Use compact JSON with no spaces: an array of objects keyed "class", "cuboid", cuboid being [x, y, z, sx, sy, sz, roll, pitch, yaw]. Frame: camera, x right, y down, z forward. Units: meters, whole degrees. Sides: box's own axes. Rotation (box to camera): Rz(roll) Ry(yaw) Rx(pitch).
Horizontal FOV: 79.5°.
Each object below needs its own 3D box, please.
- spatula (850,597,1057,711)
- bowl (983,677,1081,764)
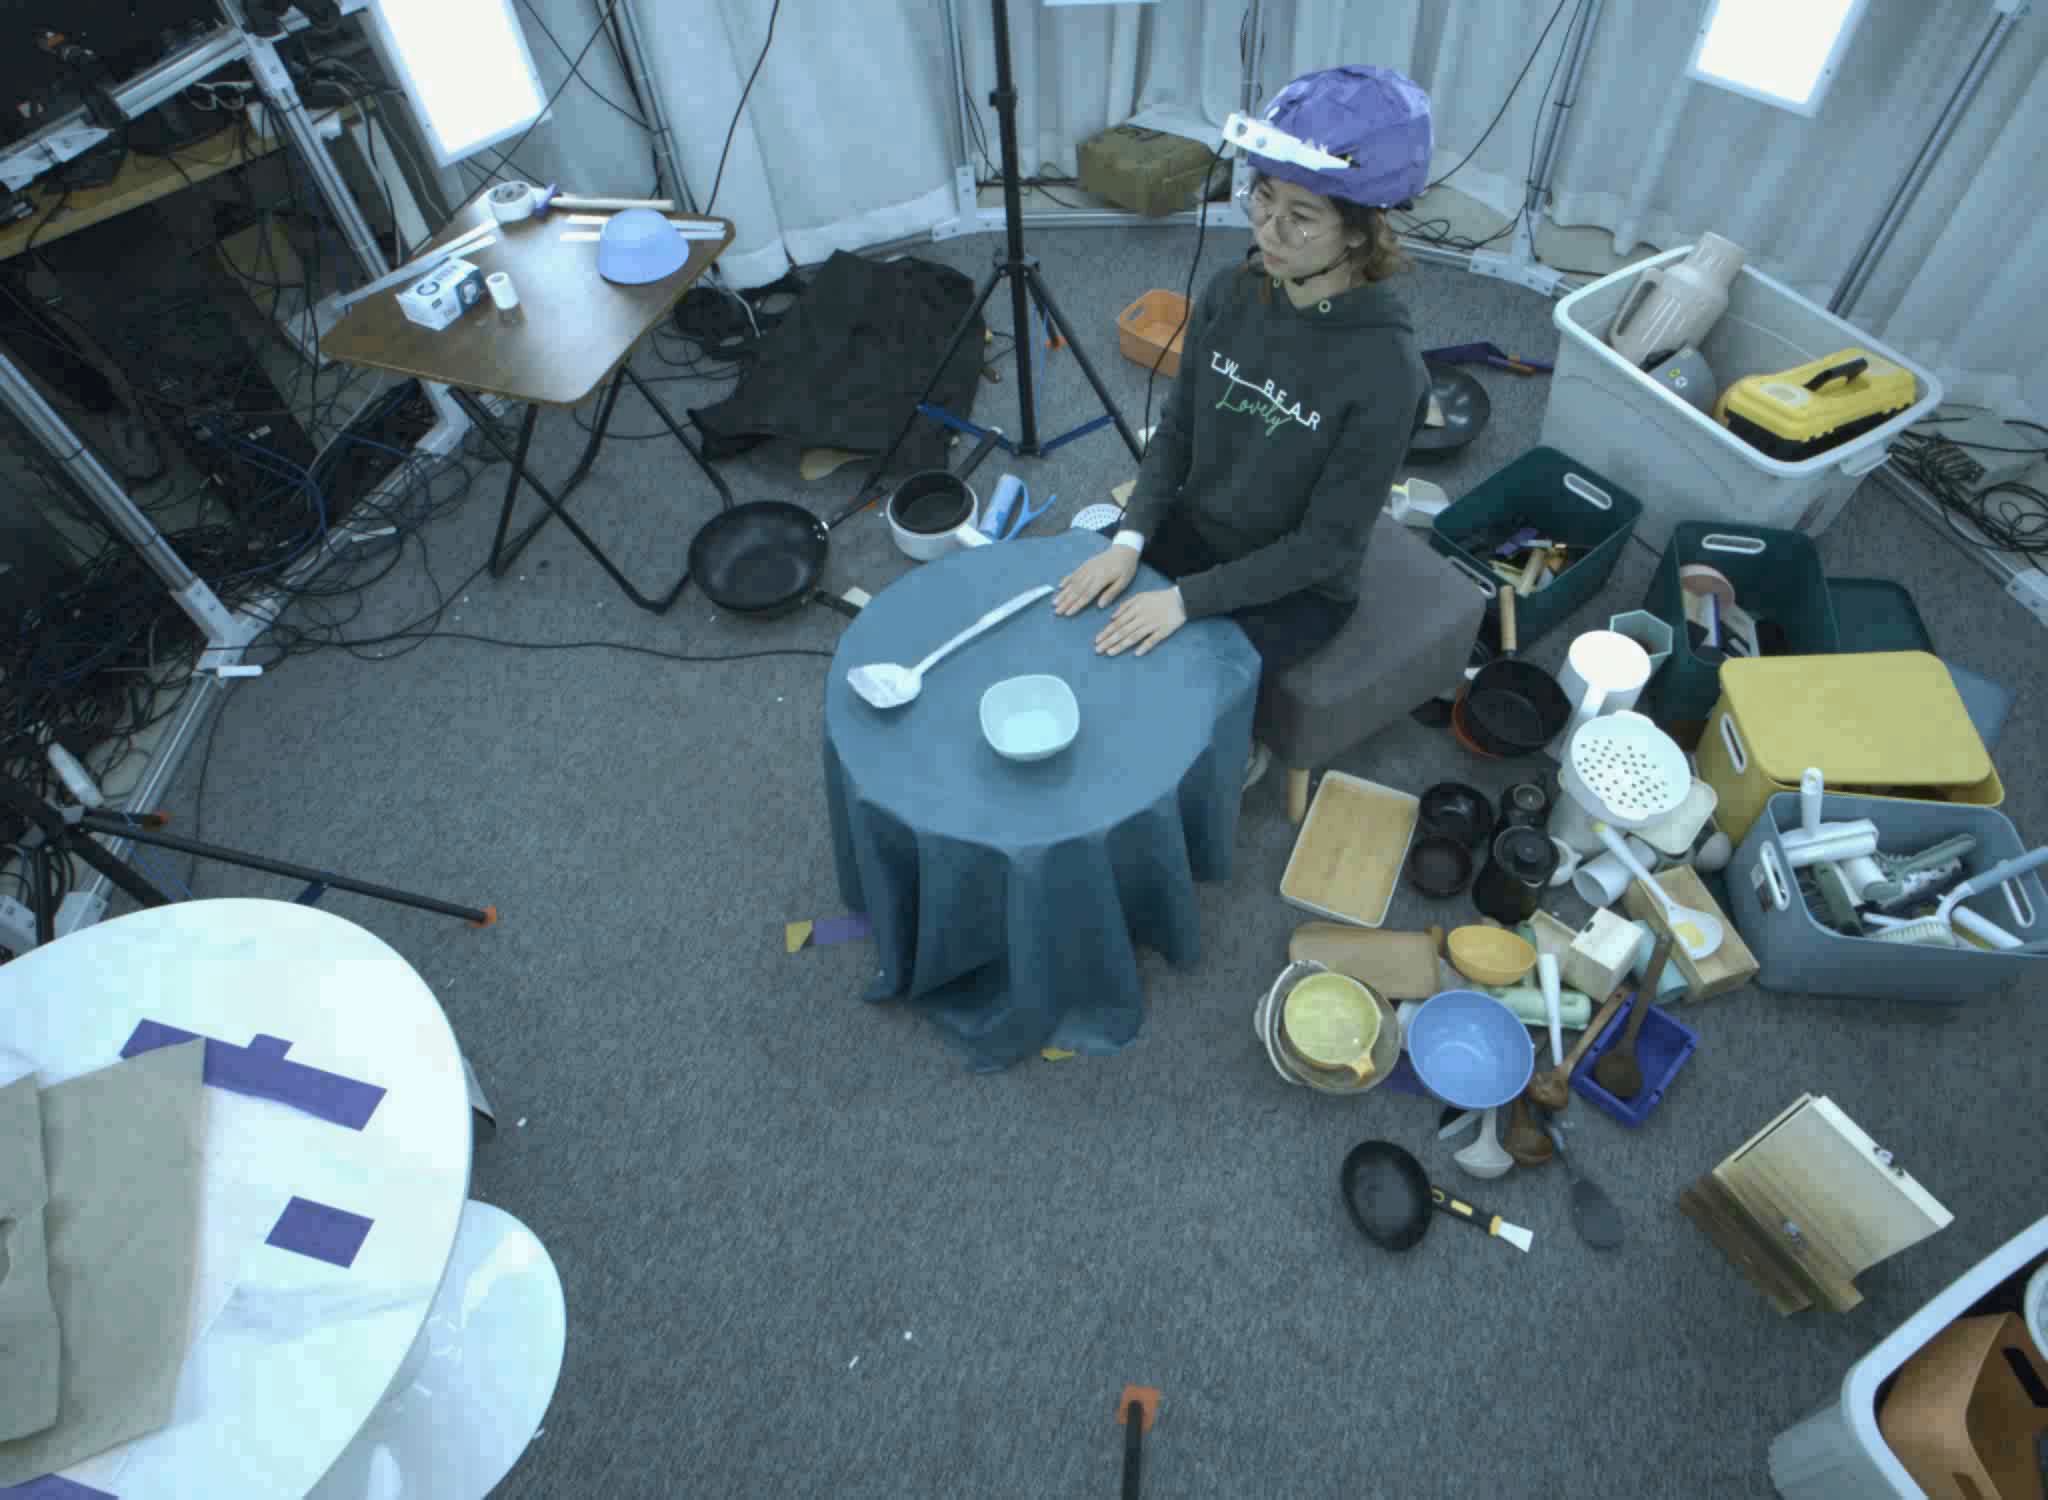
[{"class":"spatula","cuboid":[-0.099,-0.163,1.891,0.368,0.045,0.097,-34,58,-20]},{"class":"bowl","cuboid":[0.013,-0.032,1.786,0.151,0.059,0.150,-1,58,2]}]
